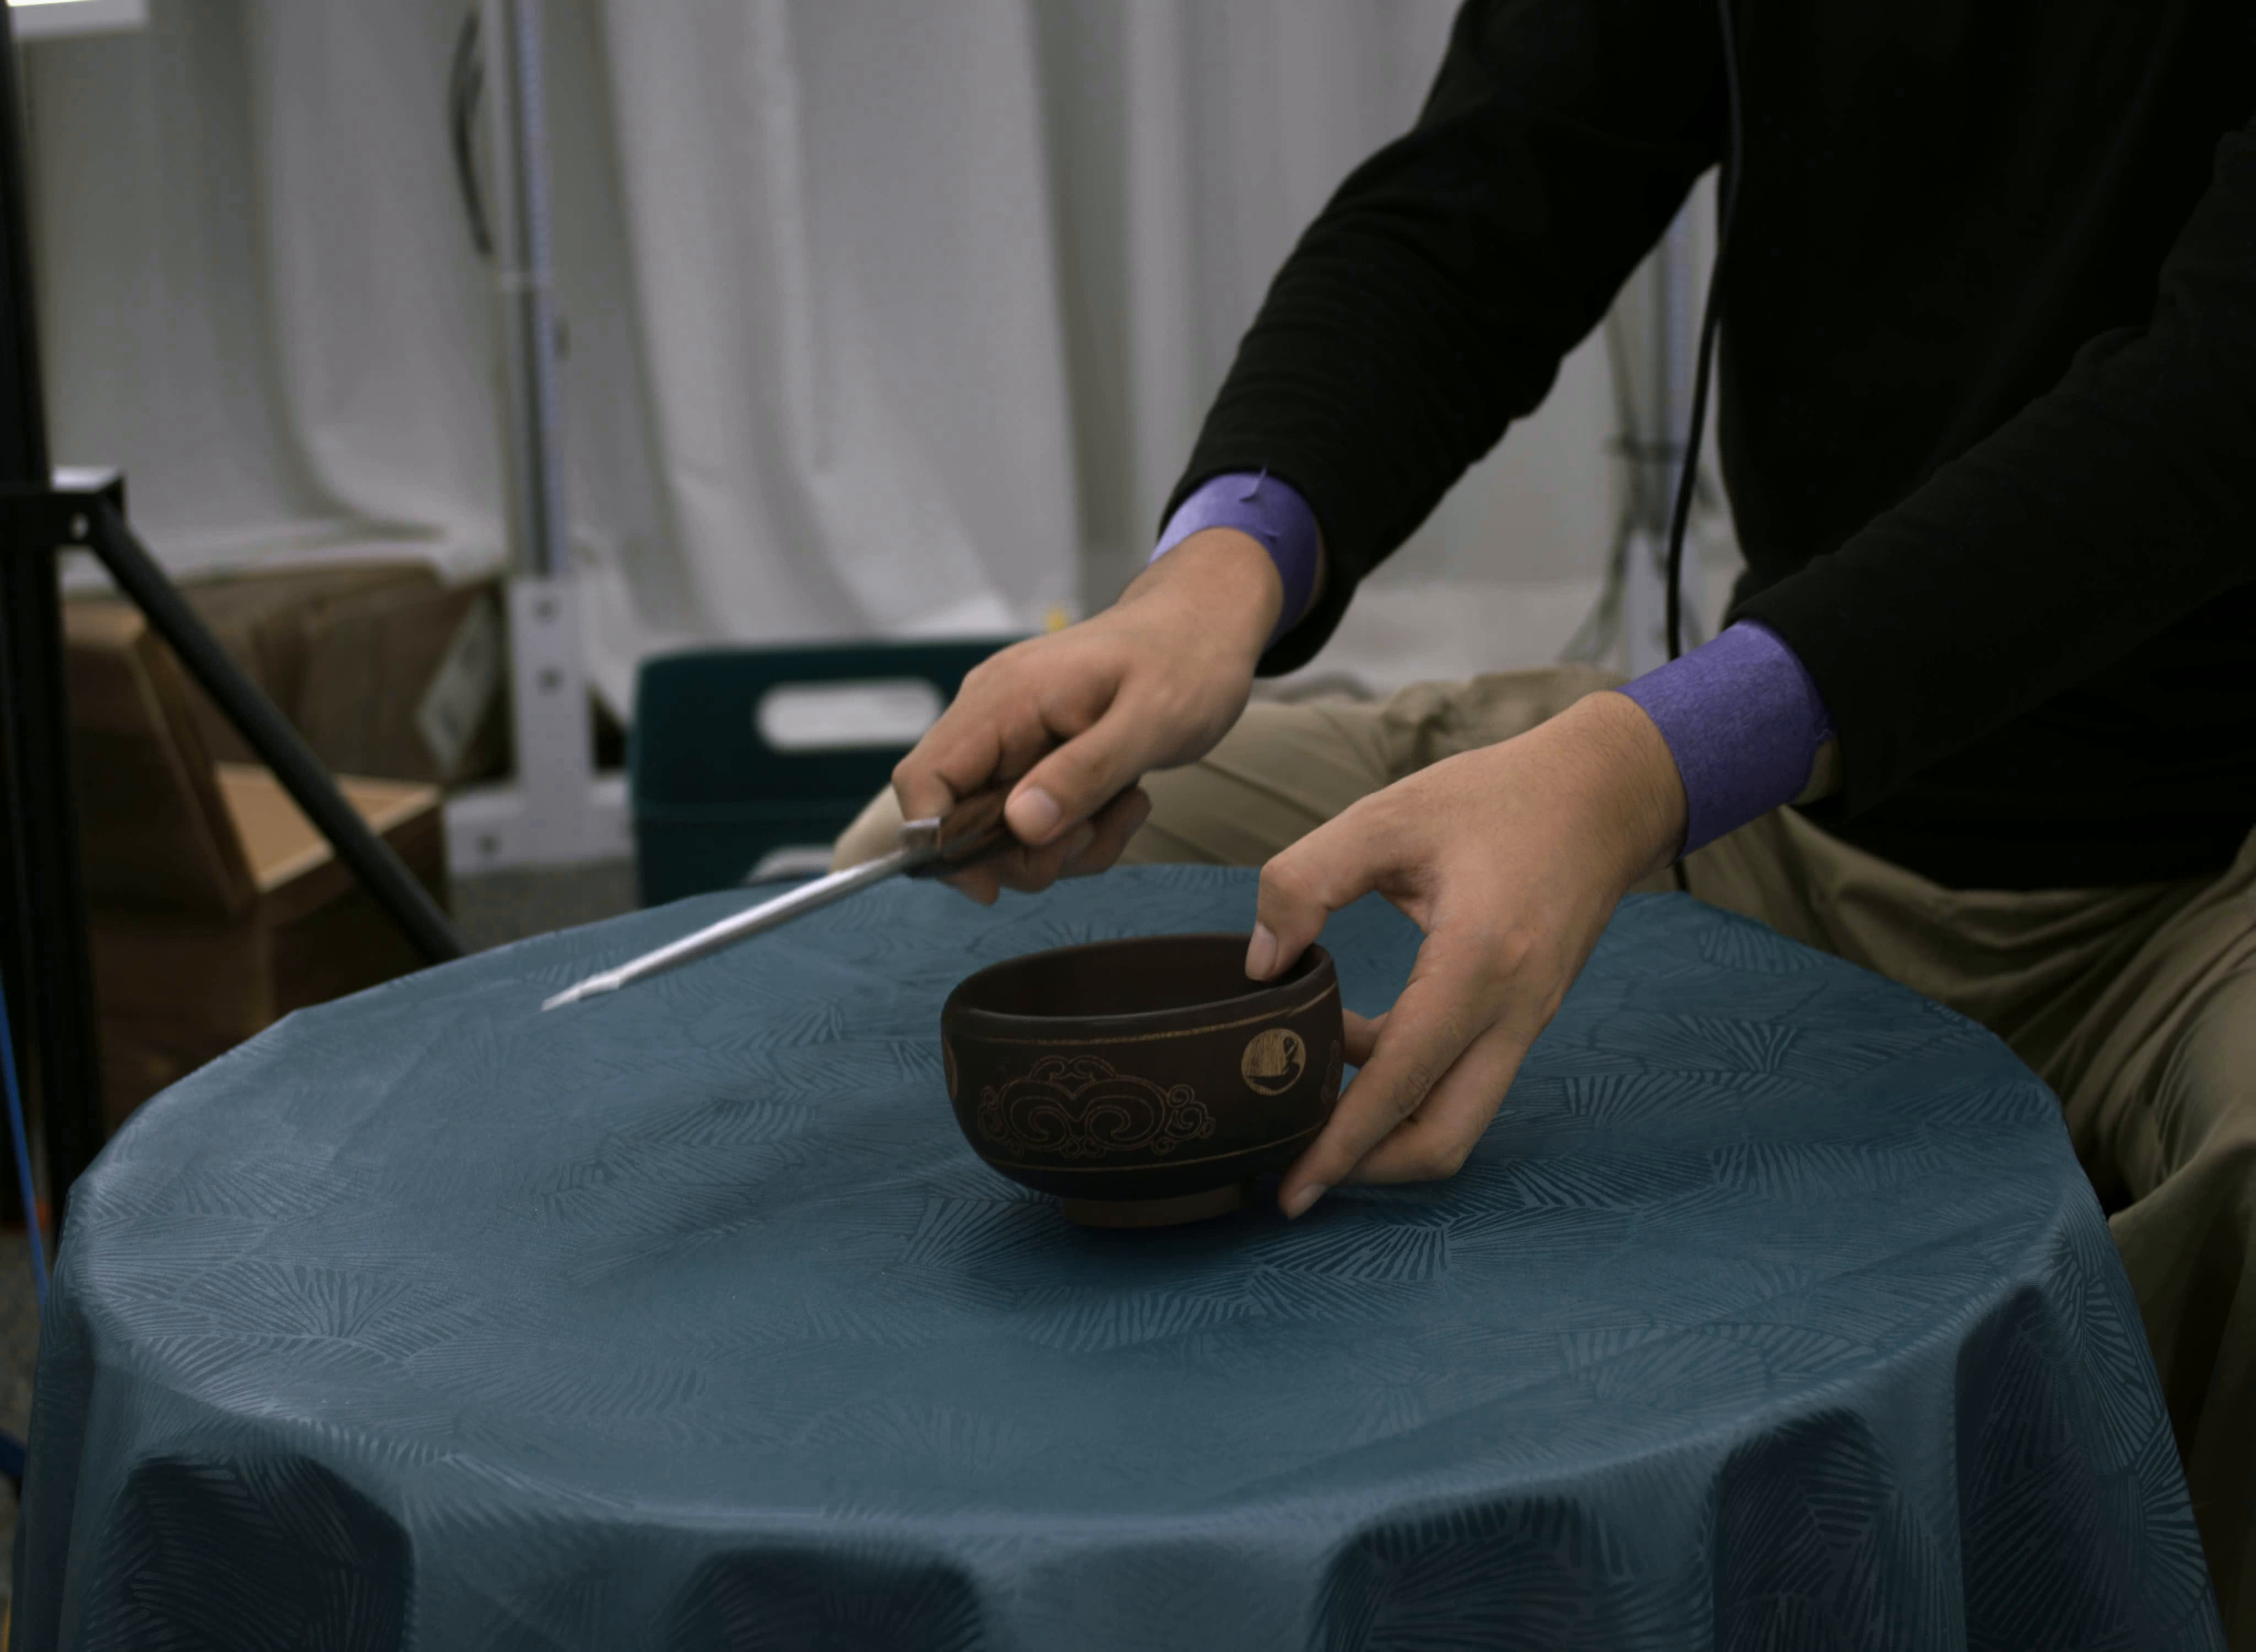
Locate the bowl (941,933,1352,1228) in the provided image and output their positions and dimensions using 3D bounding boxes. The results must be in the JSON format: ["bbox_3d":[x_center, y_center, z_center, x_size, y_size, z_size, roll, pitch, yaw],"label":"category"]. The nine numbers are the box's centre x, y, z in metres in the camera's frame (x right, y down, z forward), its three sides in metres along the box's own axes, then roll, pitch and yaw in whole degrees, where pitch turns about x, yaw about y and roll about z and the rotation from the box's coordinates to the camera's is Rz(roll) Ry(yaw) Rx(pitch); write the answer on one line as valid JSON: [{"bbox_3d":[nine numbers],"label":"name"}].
[{"bbox_3d":[0.007,0.076,1.528,0.117,0.070,0.118,-6,8,-1],"label":"bowl"}]

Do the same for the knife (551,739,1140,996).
[{"bbox_3d":[-0.082,0.014,1.637,0.051,0.020,0.283,-15,5,38],"label":"knife"}]
